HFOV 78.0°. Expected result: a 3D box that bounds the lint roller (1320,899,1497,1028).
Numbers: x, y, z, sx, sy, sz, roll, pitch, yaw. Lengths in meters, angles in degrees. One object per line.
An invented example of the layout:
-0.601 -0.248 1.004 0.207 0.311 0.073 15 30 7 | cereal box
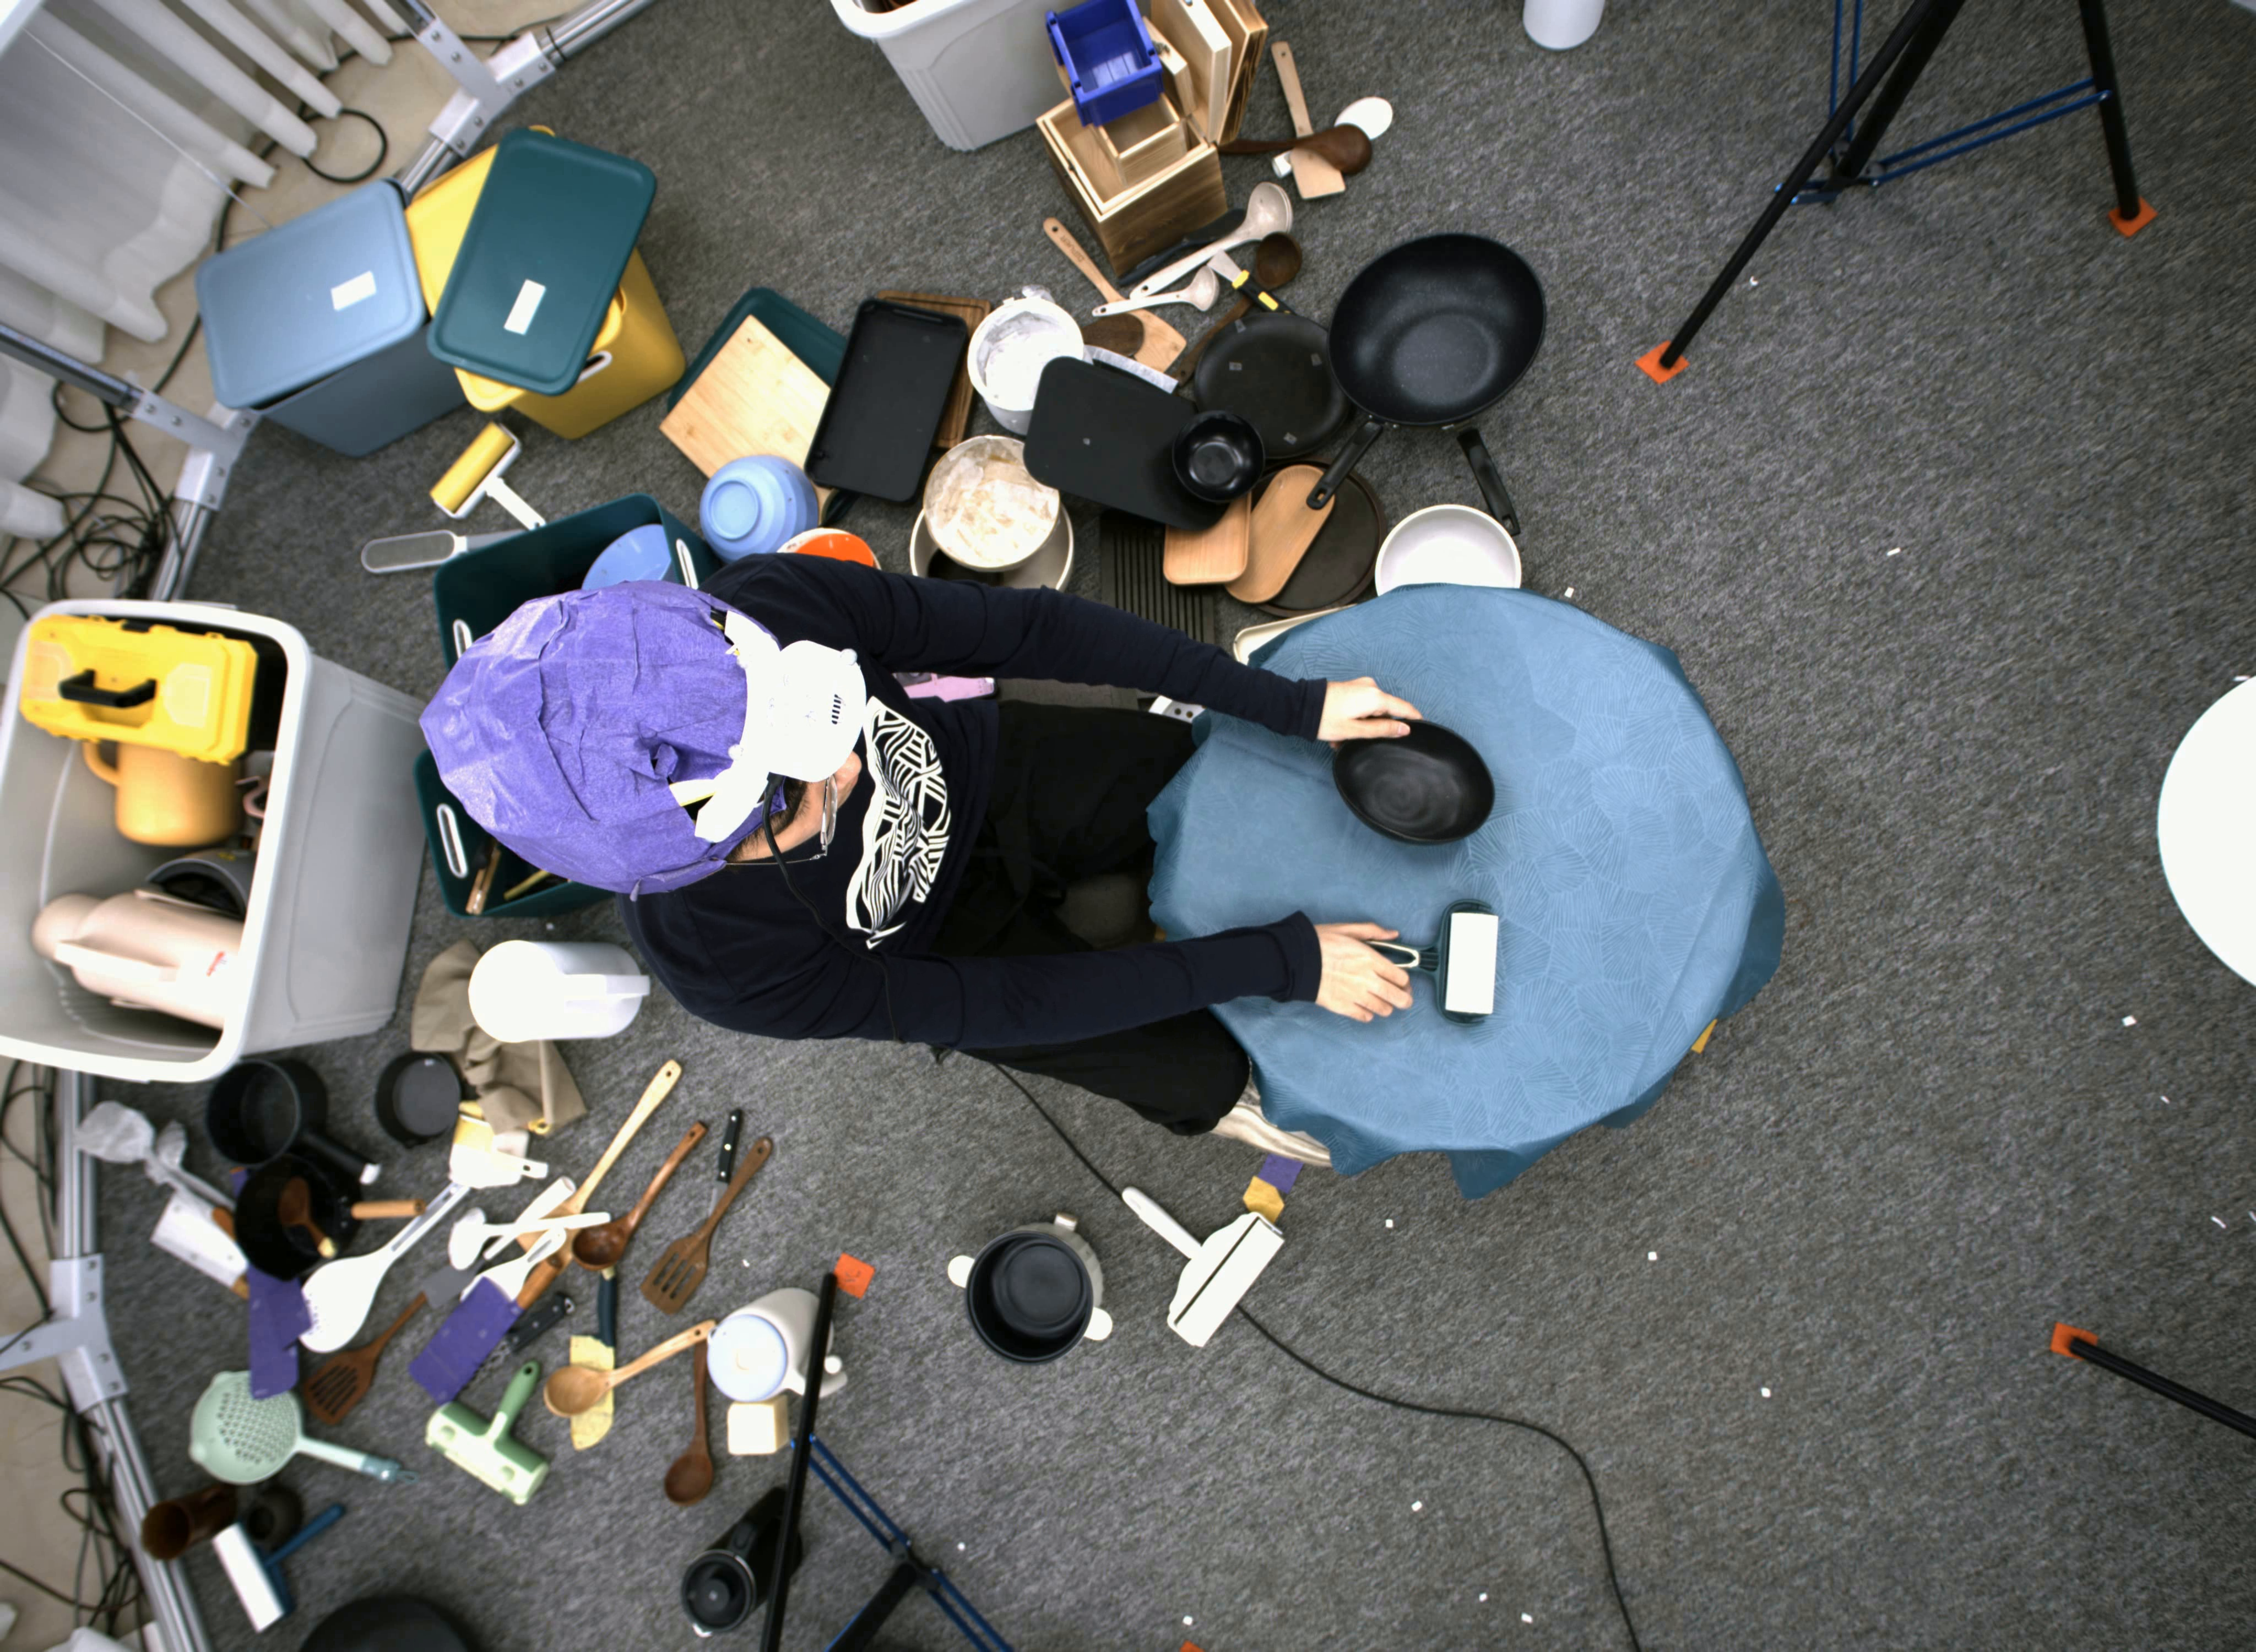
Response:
0.287 0.135 1.433 0.181 0.048 0.134 4 87 14 | lint roller

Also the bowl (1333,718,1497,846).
0.289 -0.038 1.418 0.170 0.068 0.135 14 69 0 | bowl
